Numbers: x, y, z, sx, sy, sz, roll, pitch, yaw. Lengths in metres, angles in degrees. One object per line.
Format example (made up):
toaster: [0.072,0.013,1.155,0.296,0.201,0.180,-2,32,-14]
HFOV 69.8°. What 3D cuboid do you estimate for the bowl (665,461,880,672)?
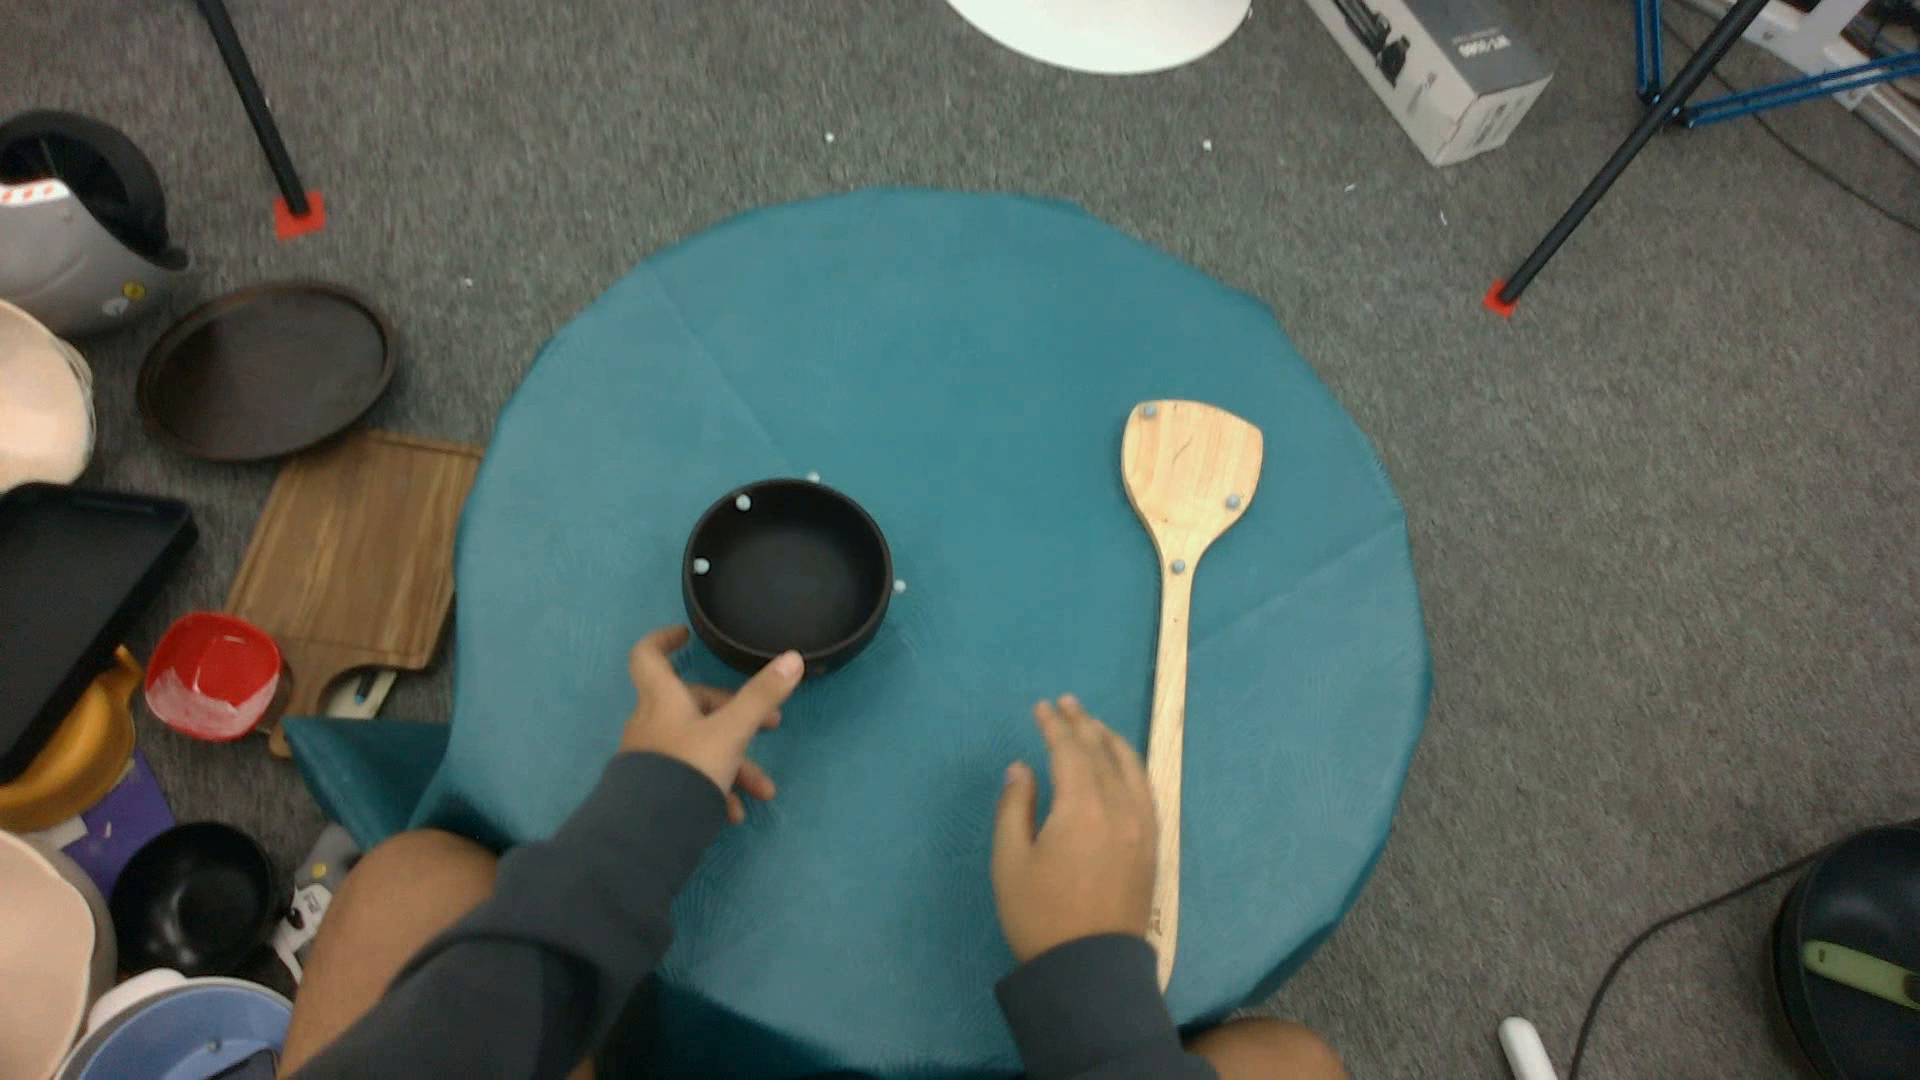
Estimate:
bowl: [-0.107,0.021,0.782,0.118,0.069,0.118,4,65,-9]

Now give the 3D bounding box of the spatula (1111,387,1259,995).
spatula: [0.126,0.074,0.832,0.096,0.018,0.392,11,62,-4]
